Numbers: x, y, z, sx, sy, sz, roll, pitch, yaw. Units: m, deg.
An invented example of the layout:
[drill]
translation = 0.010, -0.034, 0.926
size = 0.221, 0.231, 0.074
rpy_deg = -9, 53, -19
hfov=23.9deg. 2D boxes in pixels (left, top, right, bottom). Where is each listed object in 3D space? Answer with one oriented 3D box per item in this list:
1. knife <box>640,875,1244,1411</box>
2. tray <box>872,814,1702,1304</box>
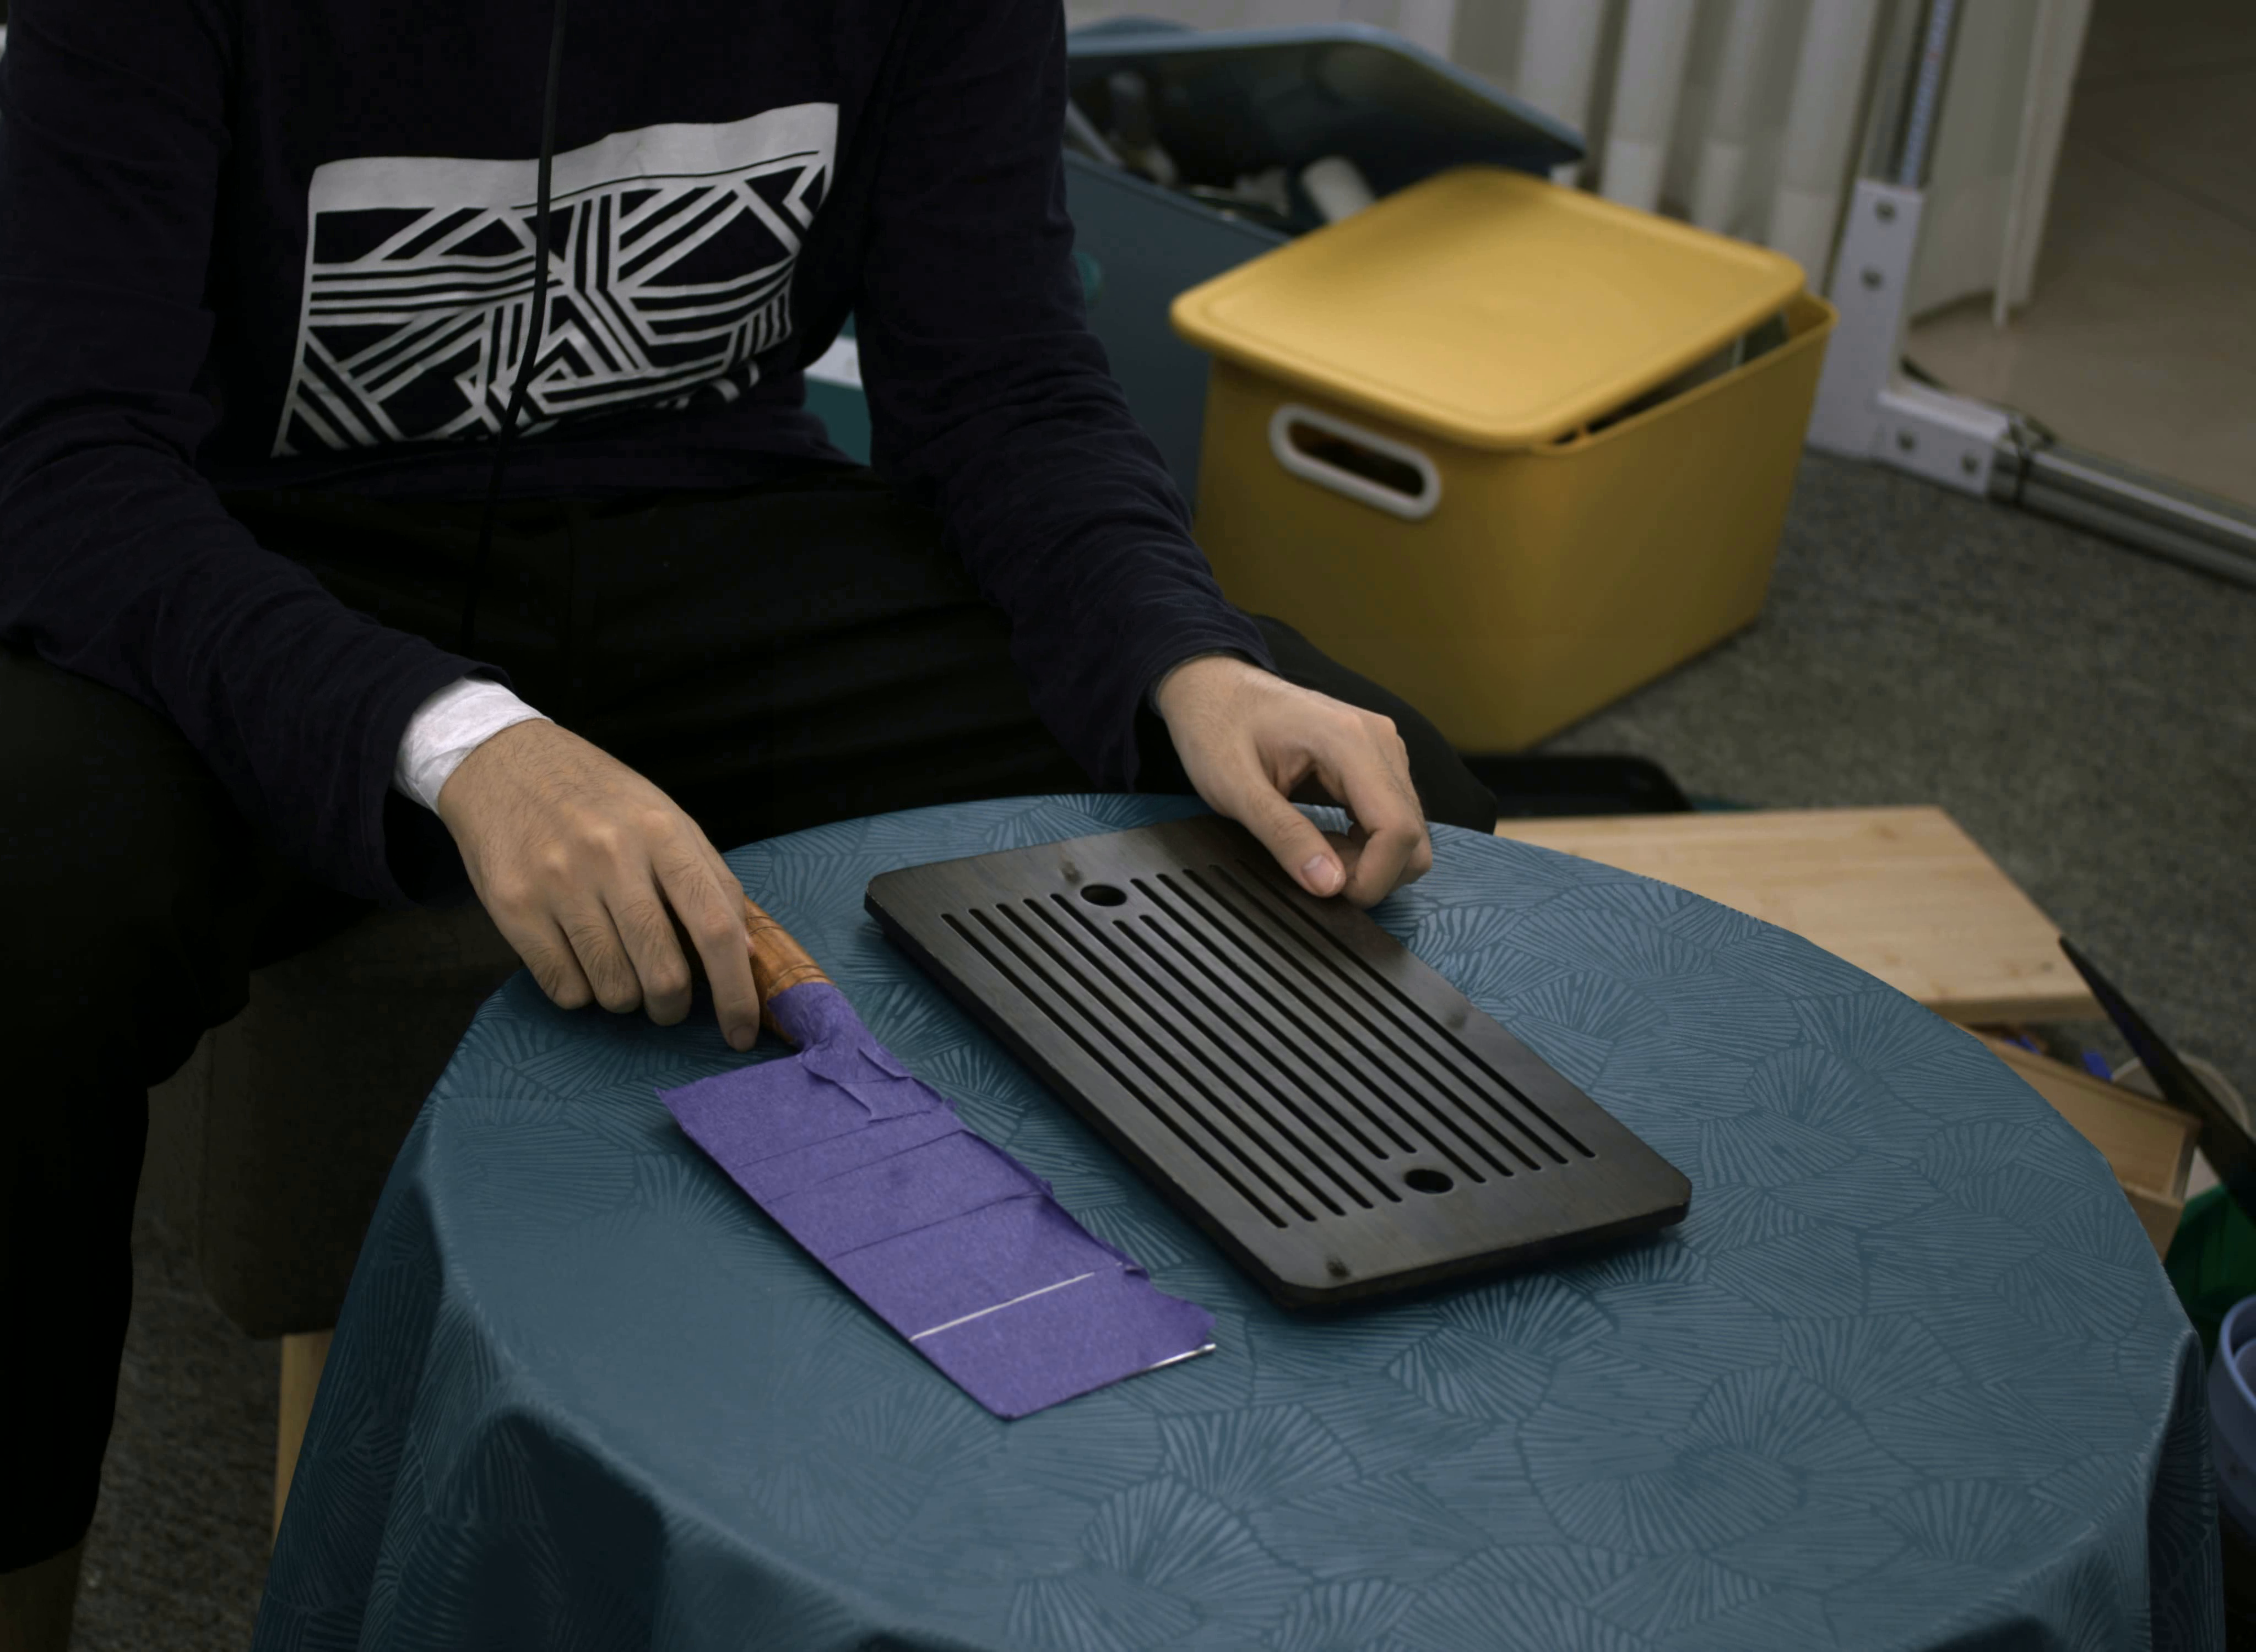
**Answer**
[knife]
translation = -0.094, 0.103, 1.797
size = 0.103, 0.032, 0.318
rpy_deg = -14, 33, -35
[tray]
translation = 0.051, 0.079, 1.886
size = 0.169, 0.018, 0.309
rpy_deg = -10, 31, -30
